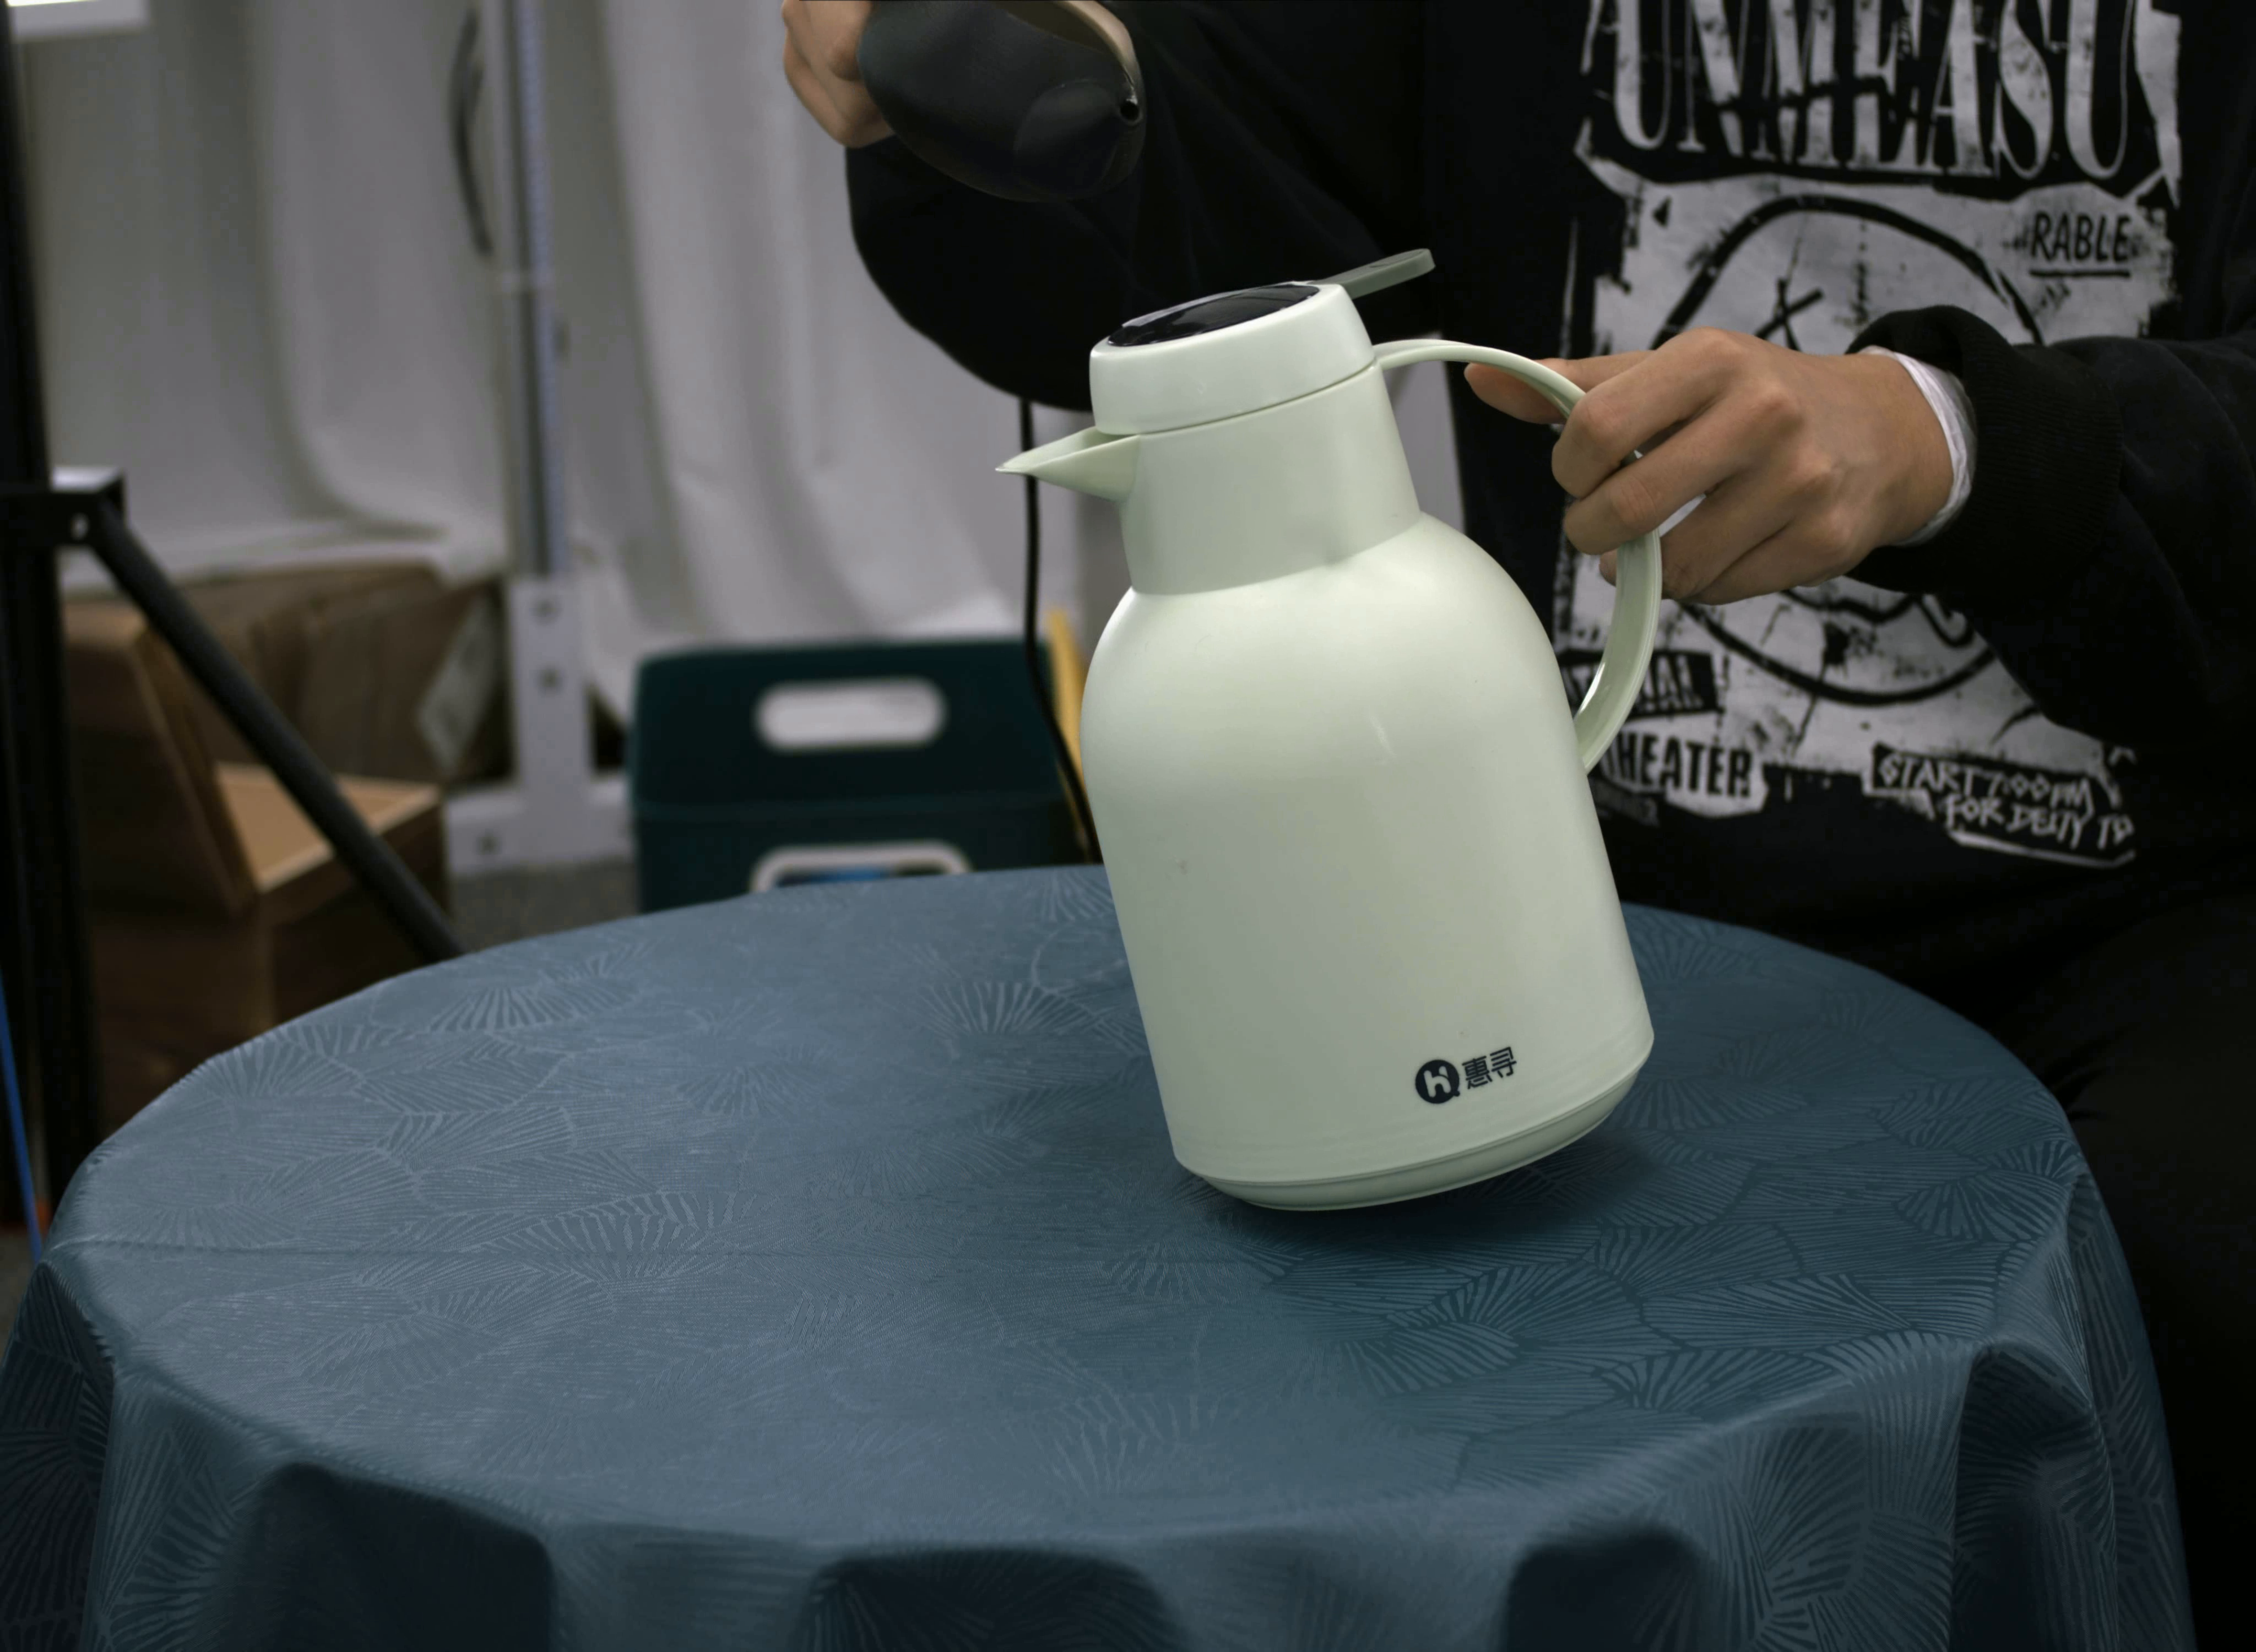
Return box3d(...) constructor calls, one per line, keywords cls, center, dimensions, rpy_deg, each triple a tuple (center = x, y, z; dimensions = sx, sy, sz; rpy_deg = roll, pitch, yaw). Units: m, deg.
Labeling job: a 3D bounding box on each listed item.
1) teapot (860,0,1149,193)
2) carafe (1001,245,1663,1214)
box3d(cls="teapot", center=(-0.035, -0.222, 1.568), dimensions=(0.088, 0.053, 0.136), rpy_deg=(10, 30, -35))
box3d(cls="carafe", center=(0.070, -0.031, 1.531), dimensions=(0.184, 0.257, 0.146), rpy_deg=(-14, 10, -14))
